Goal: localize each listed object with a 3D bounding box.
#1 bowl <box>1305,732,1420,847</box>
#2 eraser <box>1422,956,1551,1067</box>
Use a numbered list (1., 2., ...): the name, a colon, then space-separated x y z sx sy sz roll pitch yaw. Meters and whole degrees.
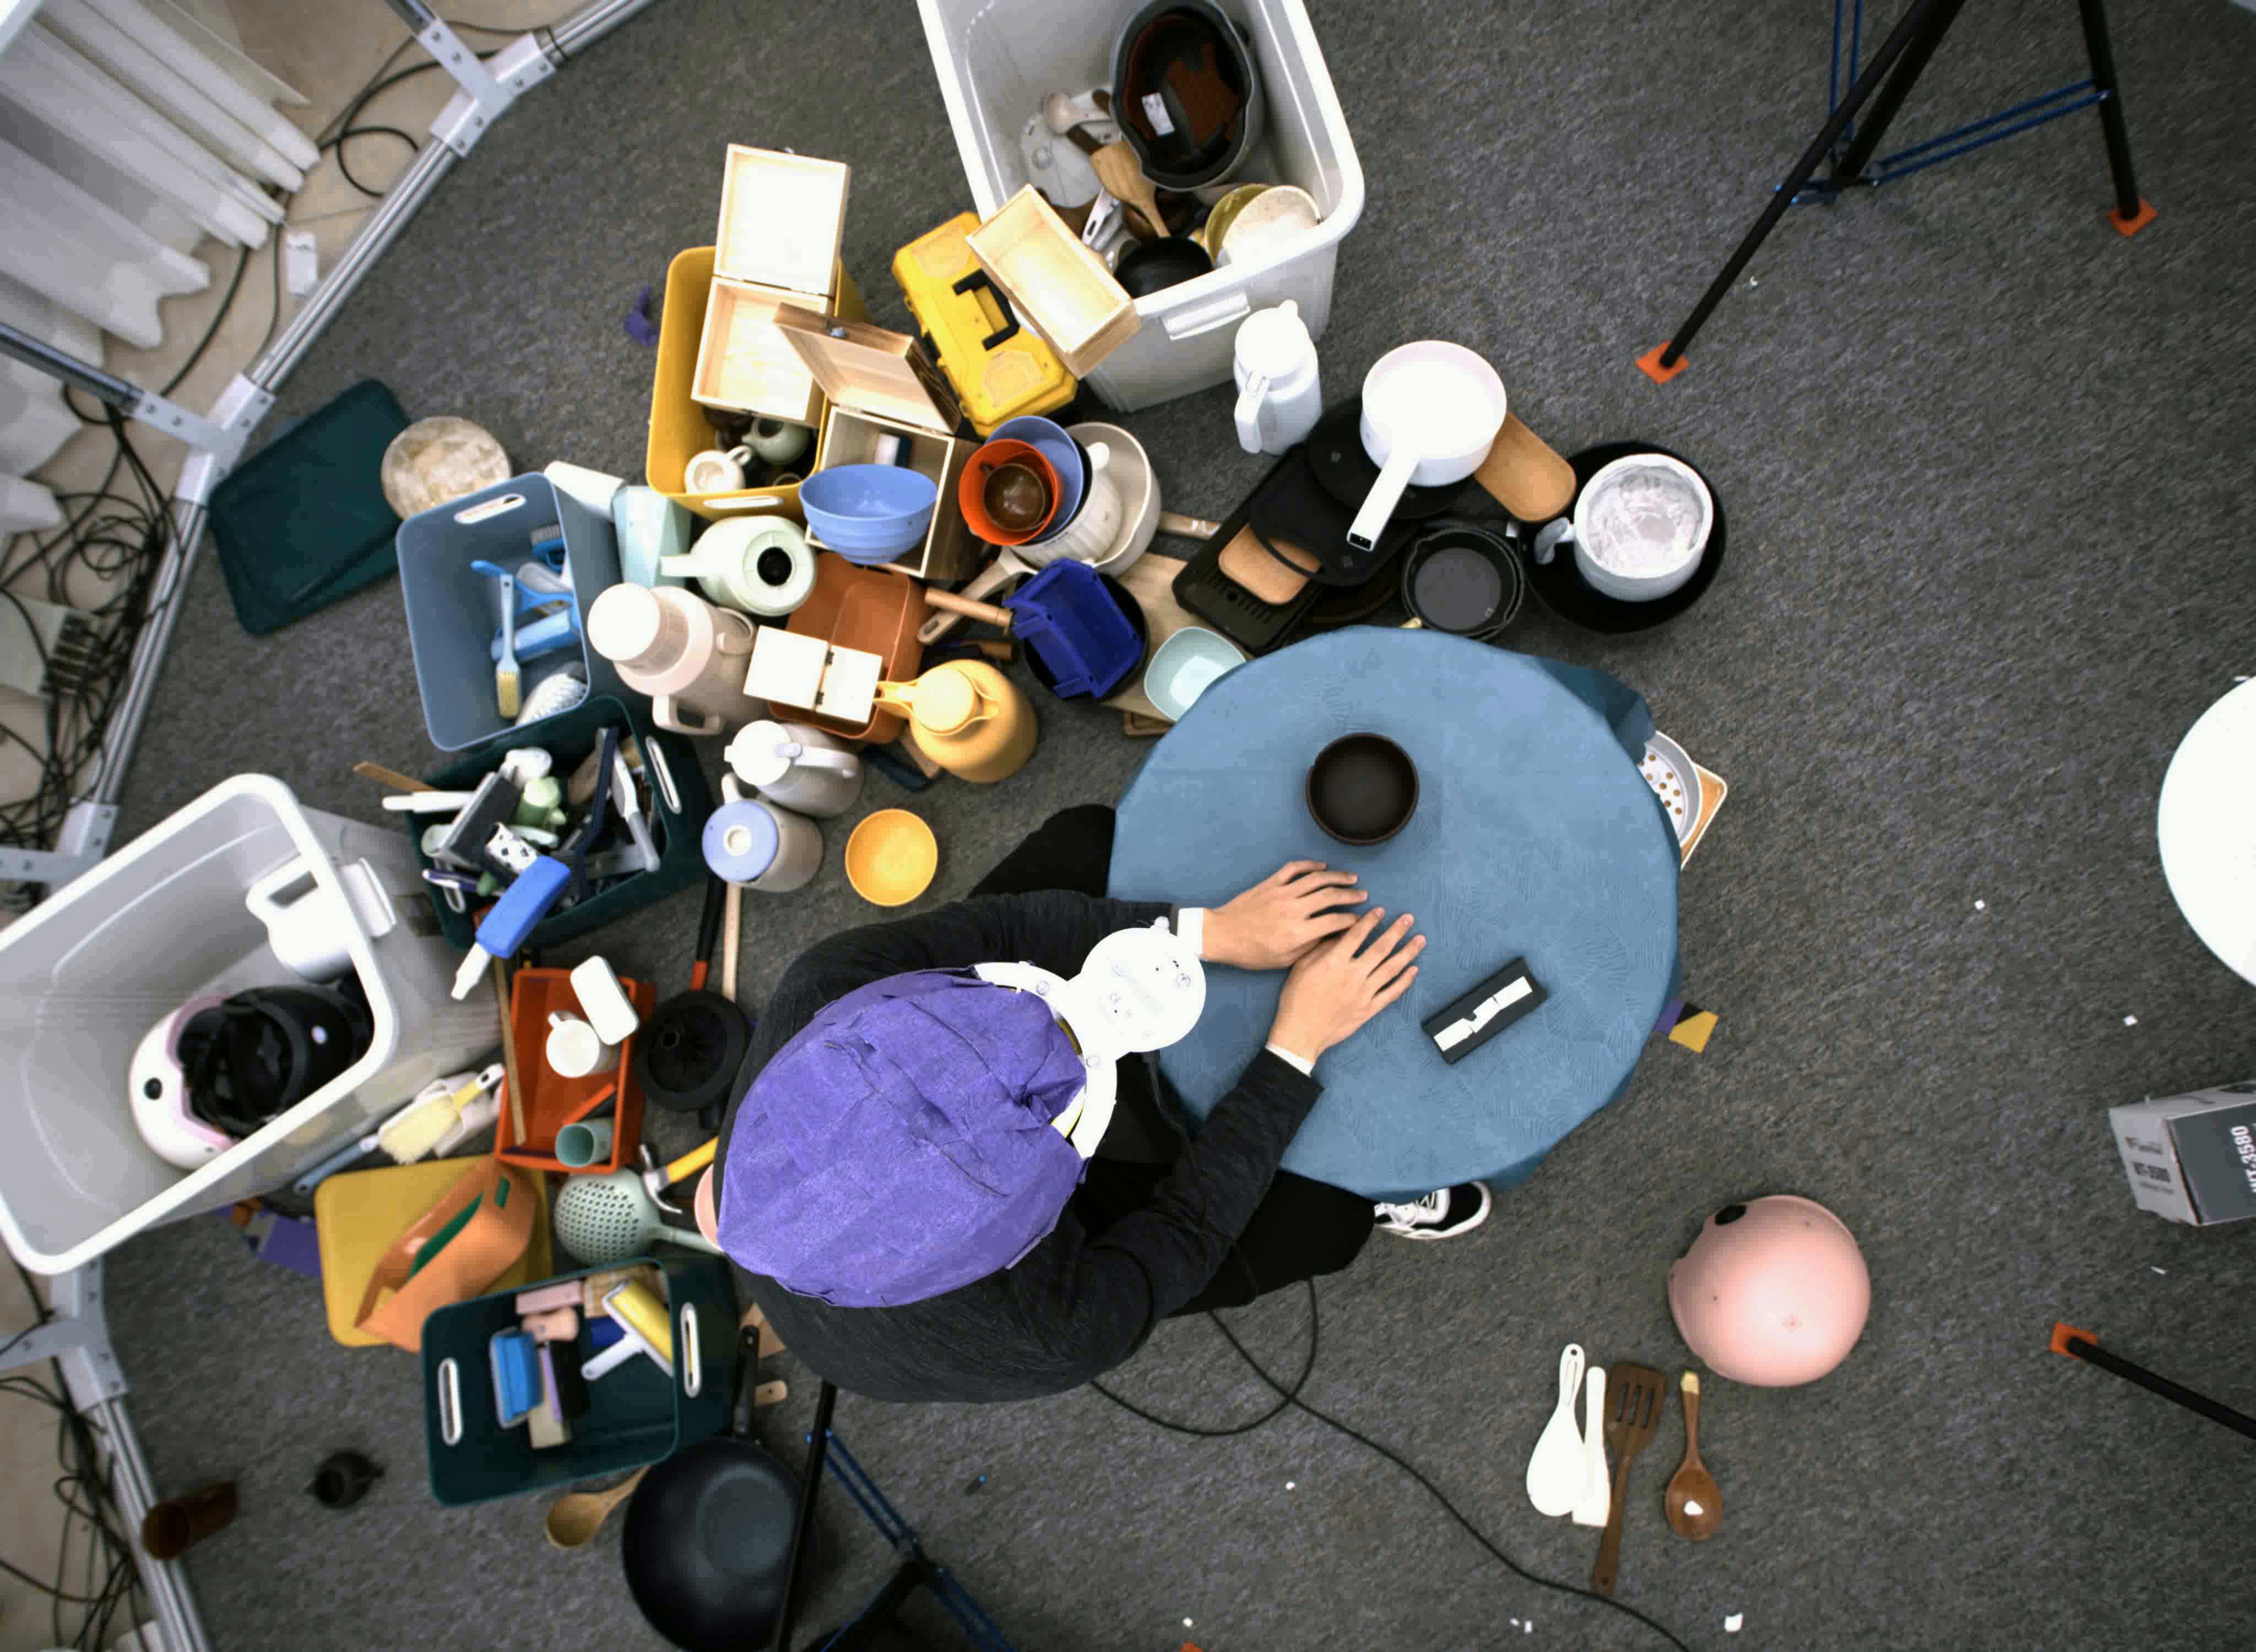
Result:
1. bowl: 0.244 -0.037 1.435 0.118 0.070 0.117 -1 87 9
2. eraser: 0.369 0.188 1.421 0.126 0.030 0.053 -37 78 7
